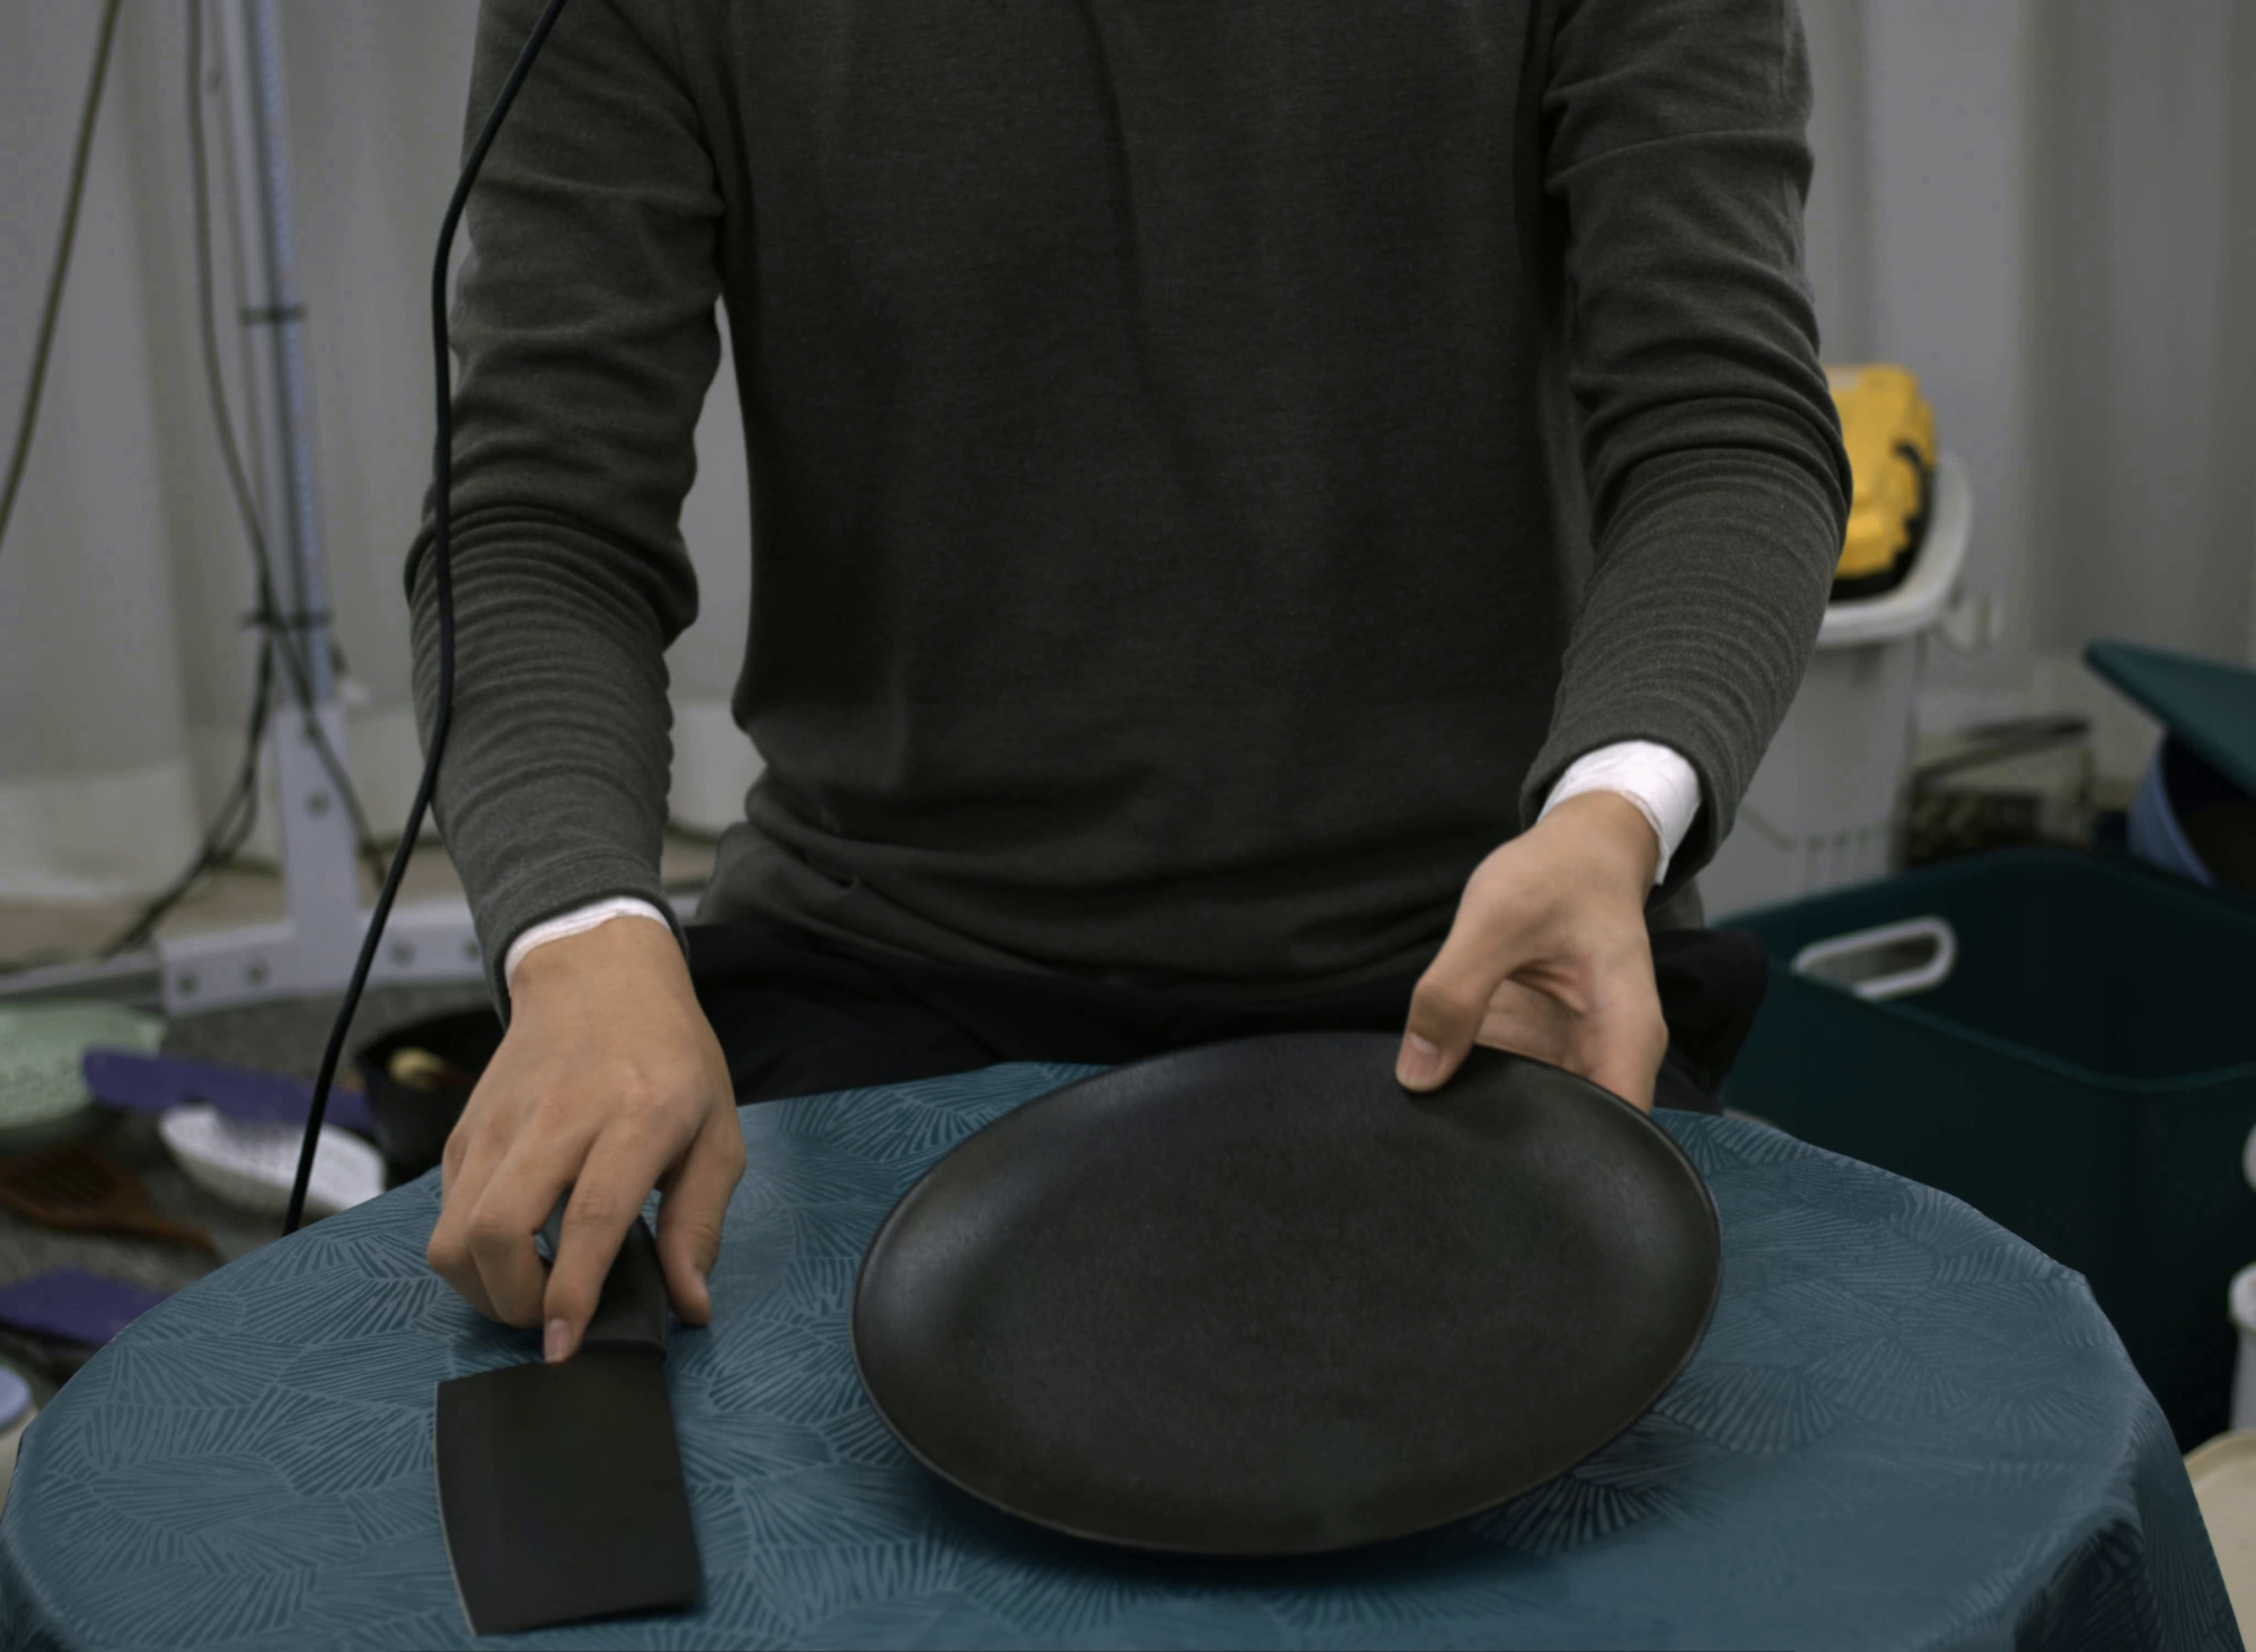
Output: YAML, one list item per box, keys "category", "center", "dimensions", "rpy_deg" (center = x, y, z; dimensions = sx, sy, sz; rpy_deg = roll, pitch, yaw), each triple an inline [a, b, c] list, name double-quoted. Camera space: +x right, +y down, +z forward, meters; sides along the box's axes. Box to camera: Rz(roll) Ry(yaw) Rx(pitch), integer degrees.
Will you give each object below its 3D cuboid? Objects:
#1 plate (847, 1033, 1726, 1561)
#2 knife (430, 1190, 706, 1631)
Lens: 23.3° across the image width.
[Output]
- category: "plate"
  center: [0.044, 0.132, 1.506]
  dimensions: [0.243, 0.023, 0.247]
  rpy_deg: [-6, 30, 3]
- category: "knife"
  center: [-0.158, 0.162, 1.542]
  dimensions: [0.080, 0.021, 0.304]
  rpy_deg: [-7, 16, -2]
